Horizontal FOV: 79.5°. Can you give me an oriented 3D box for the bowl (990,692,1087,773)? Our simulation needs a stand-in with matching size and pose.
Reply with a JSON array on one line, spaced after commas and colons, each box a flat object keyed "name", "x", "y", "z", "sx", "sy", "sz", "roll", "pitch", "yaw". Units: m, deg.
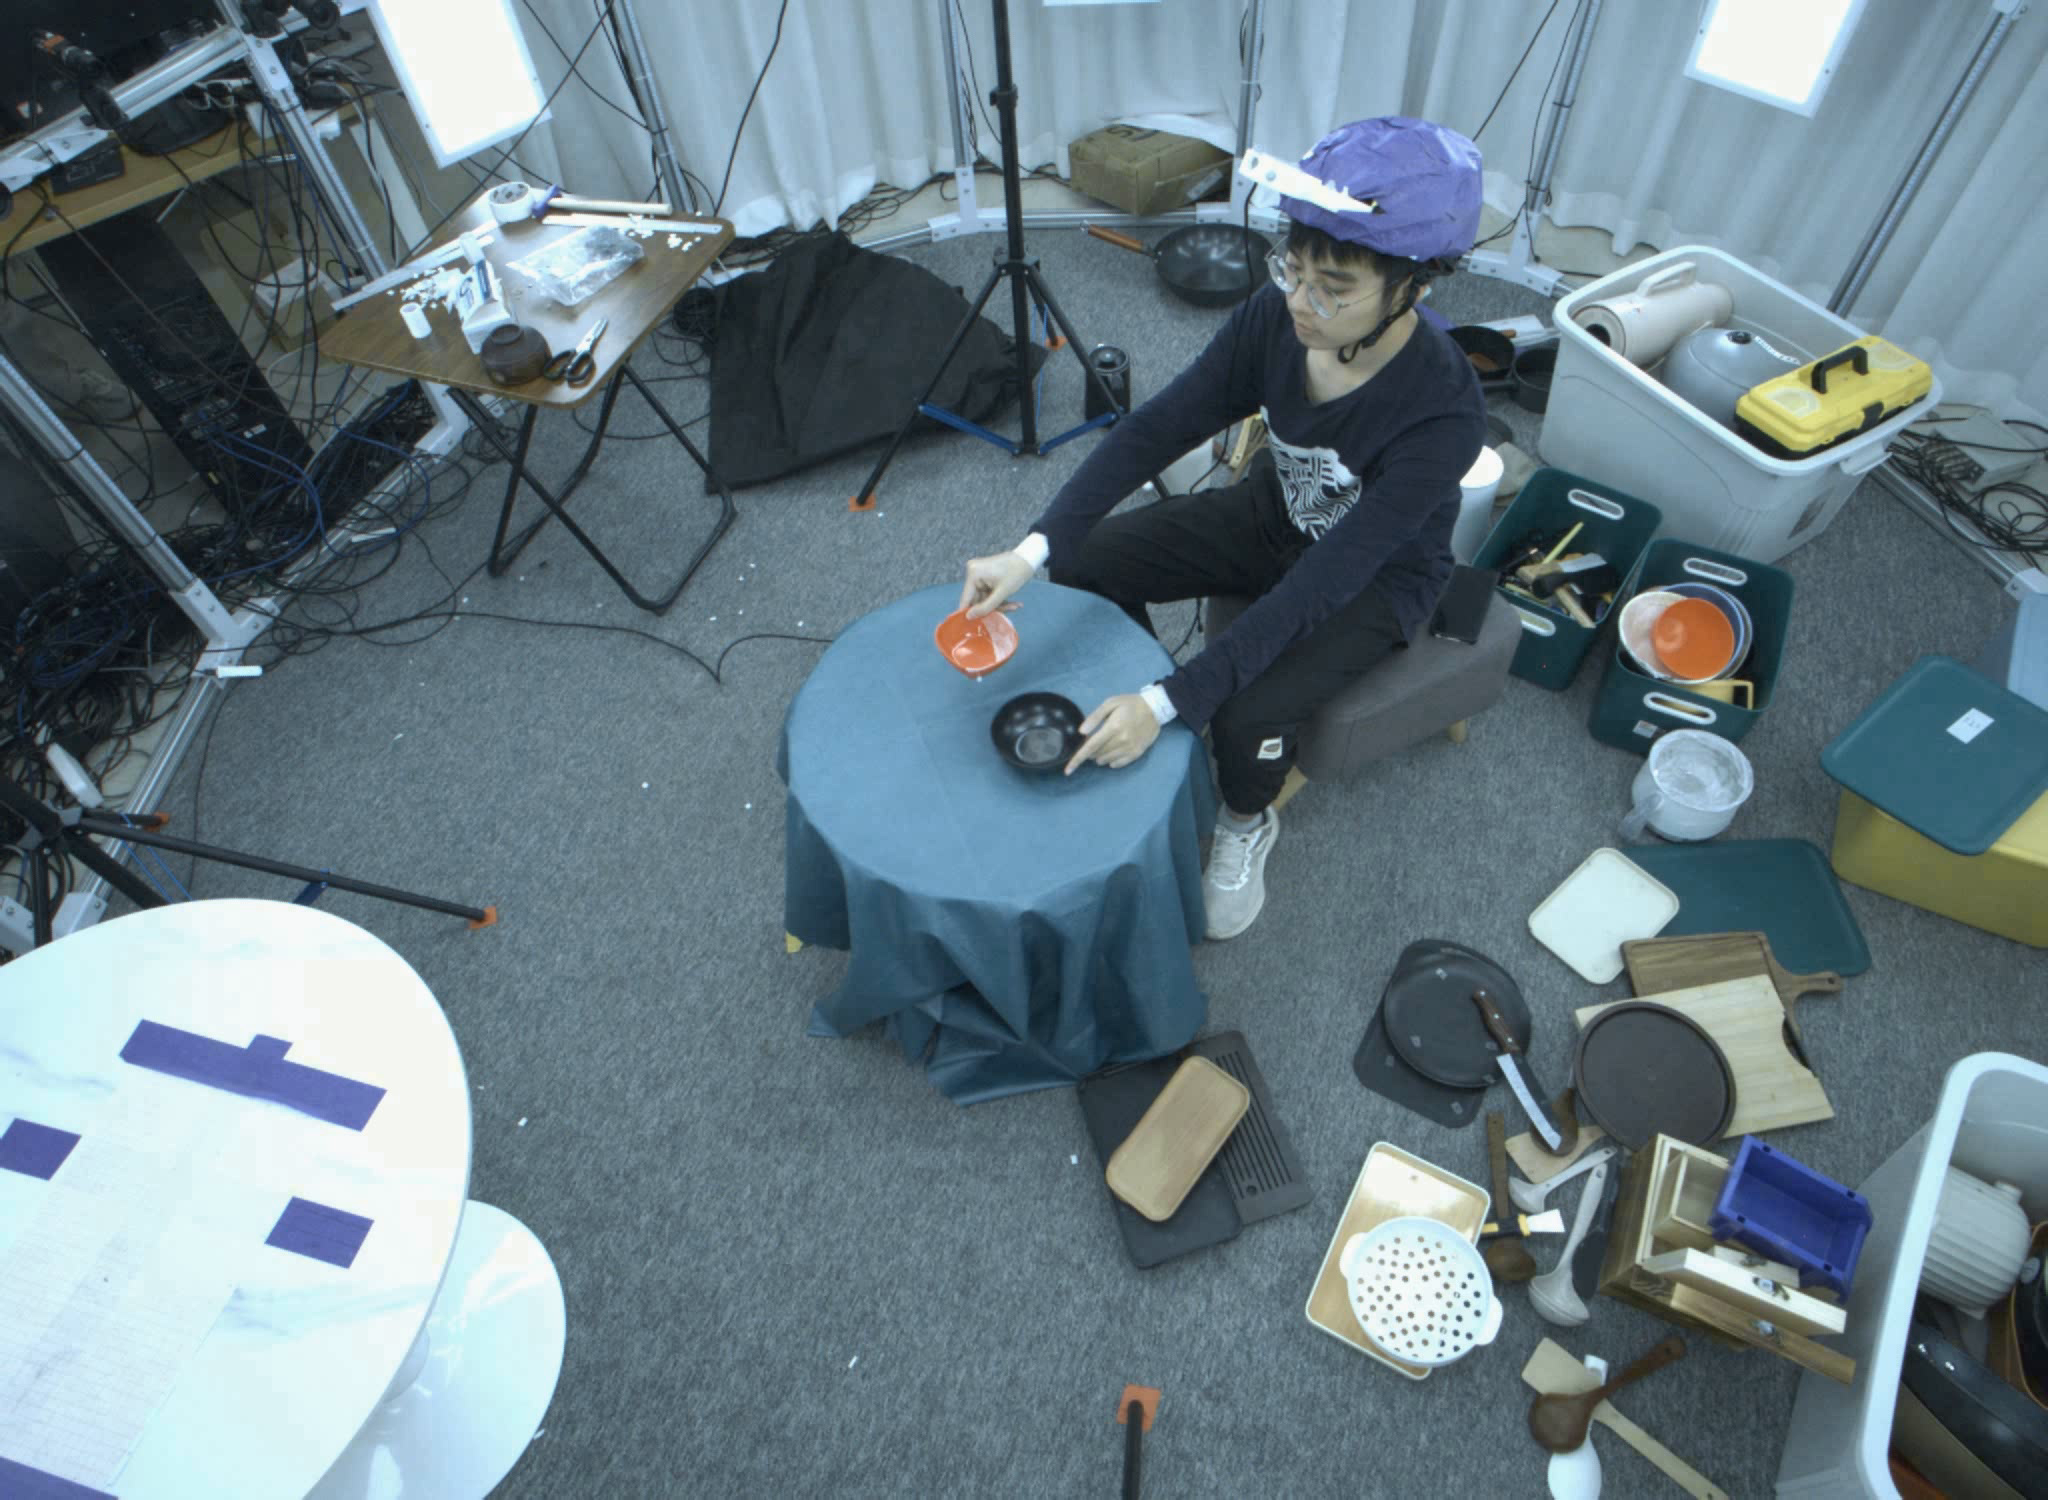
[{"name": "bowl", "x": 0.021, "y": -0.016, "z": 1.779, "sx": 0.140, "sy": 0.050, "sz": 0.138, "roll": 2, "pitch": 51, "yaw": -1}]

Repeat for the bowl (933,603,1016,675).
[{"name": "bowl", "x": -0.069, "y": -0.152, "z": 1.762, "sx": 0.119, "sy": 0.052, "sz": 0.117, "roll": -1, "pitch": 53, "yaw": 3}]
